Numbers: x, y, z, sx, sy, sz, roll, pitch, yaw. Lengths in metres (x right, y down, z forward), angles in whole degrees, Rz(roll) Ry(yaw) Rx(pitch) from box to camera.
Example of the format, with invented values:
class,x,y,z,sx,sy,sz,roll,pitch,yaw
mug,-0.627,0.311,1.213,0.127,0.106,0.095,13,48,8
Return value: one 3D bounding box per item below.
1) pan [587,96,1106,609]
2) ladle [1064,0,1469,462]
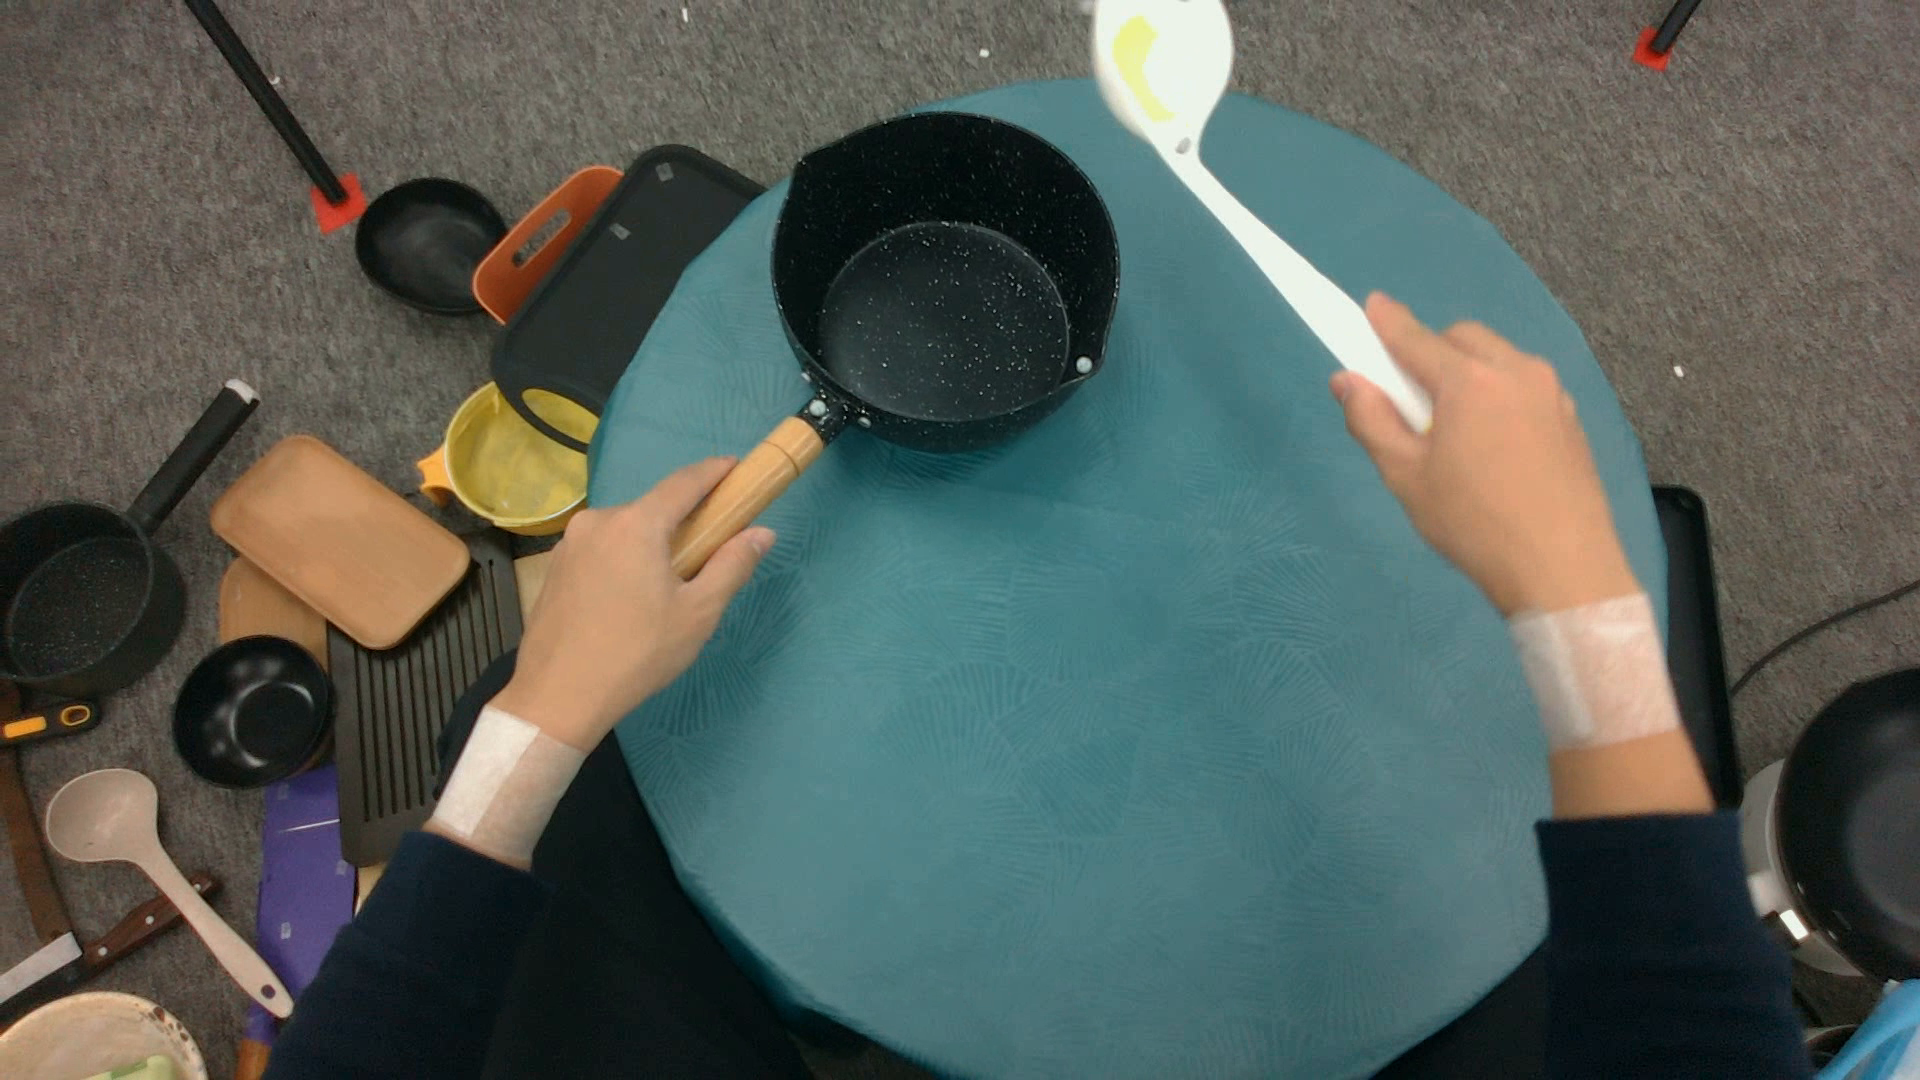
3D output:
class,x,y,z,sx,sy,sz,roll,pitch,yaw
pan,-0.063,-0.084,0.726,0.207,0.108,0.344,35,72,8
ladle,0.139,-0.164,0.633,0.090,0.069,0.293,-5,51,-43
